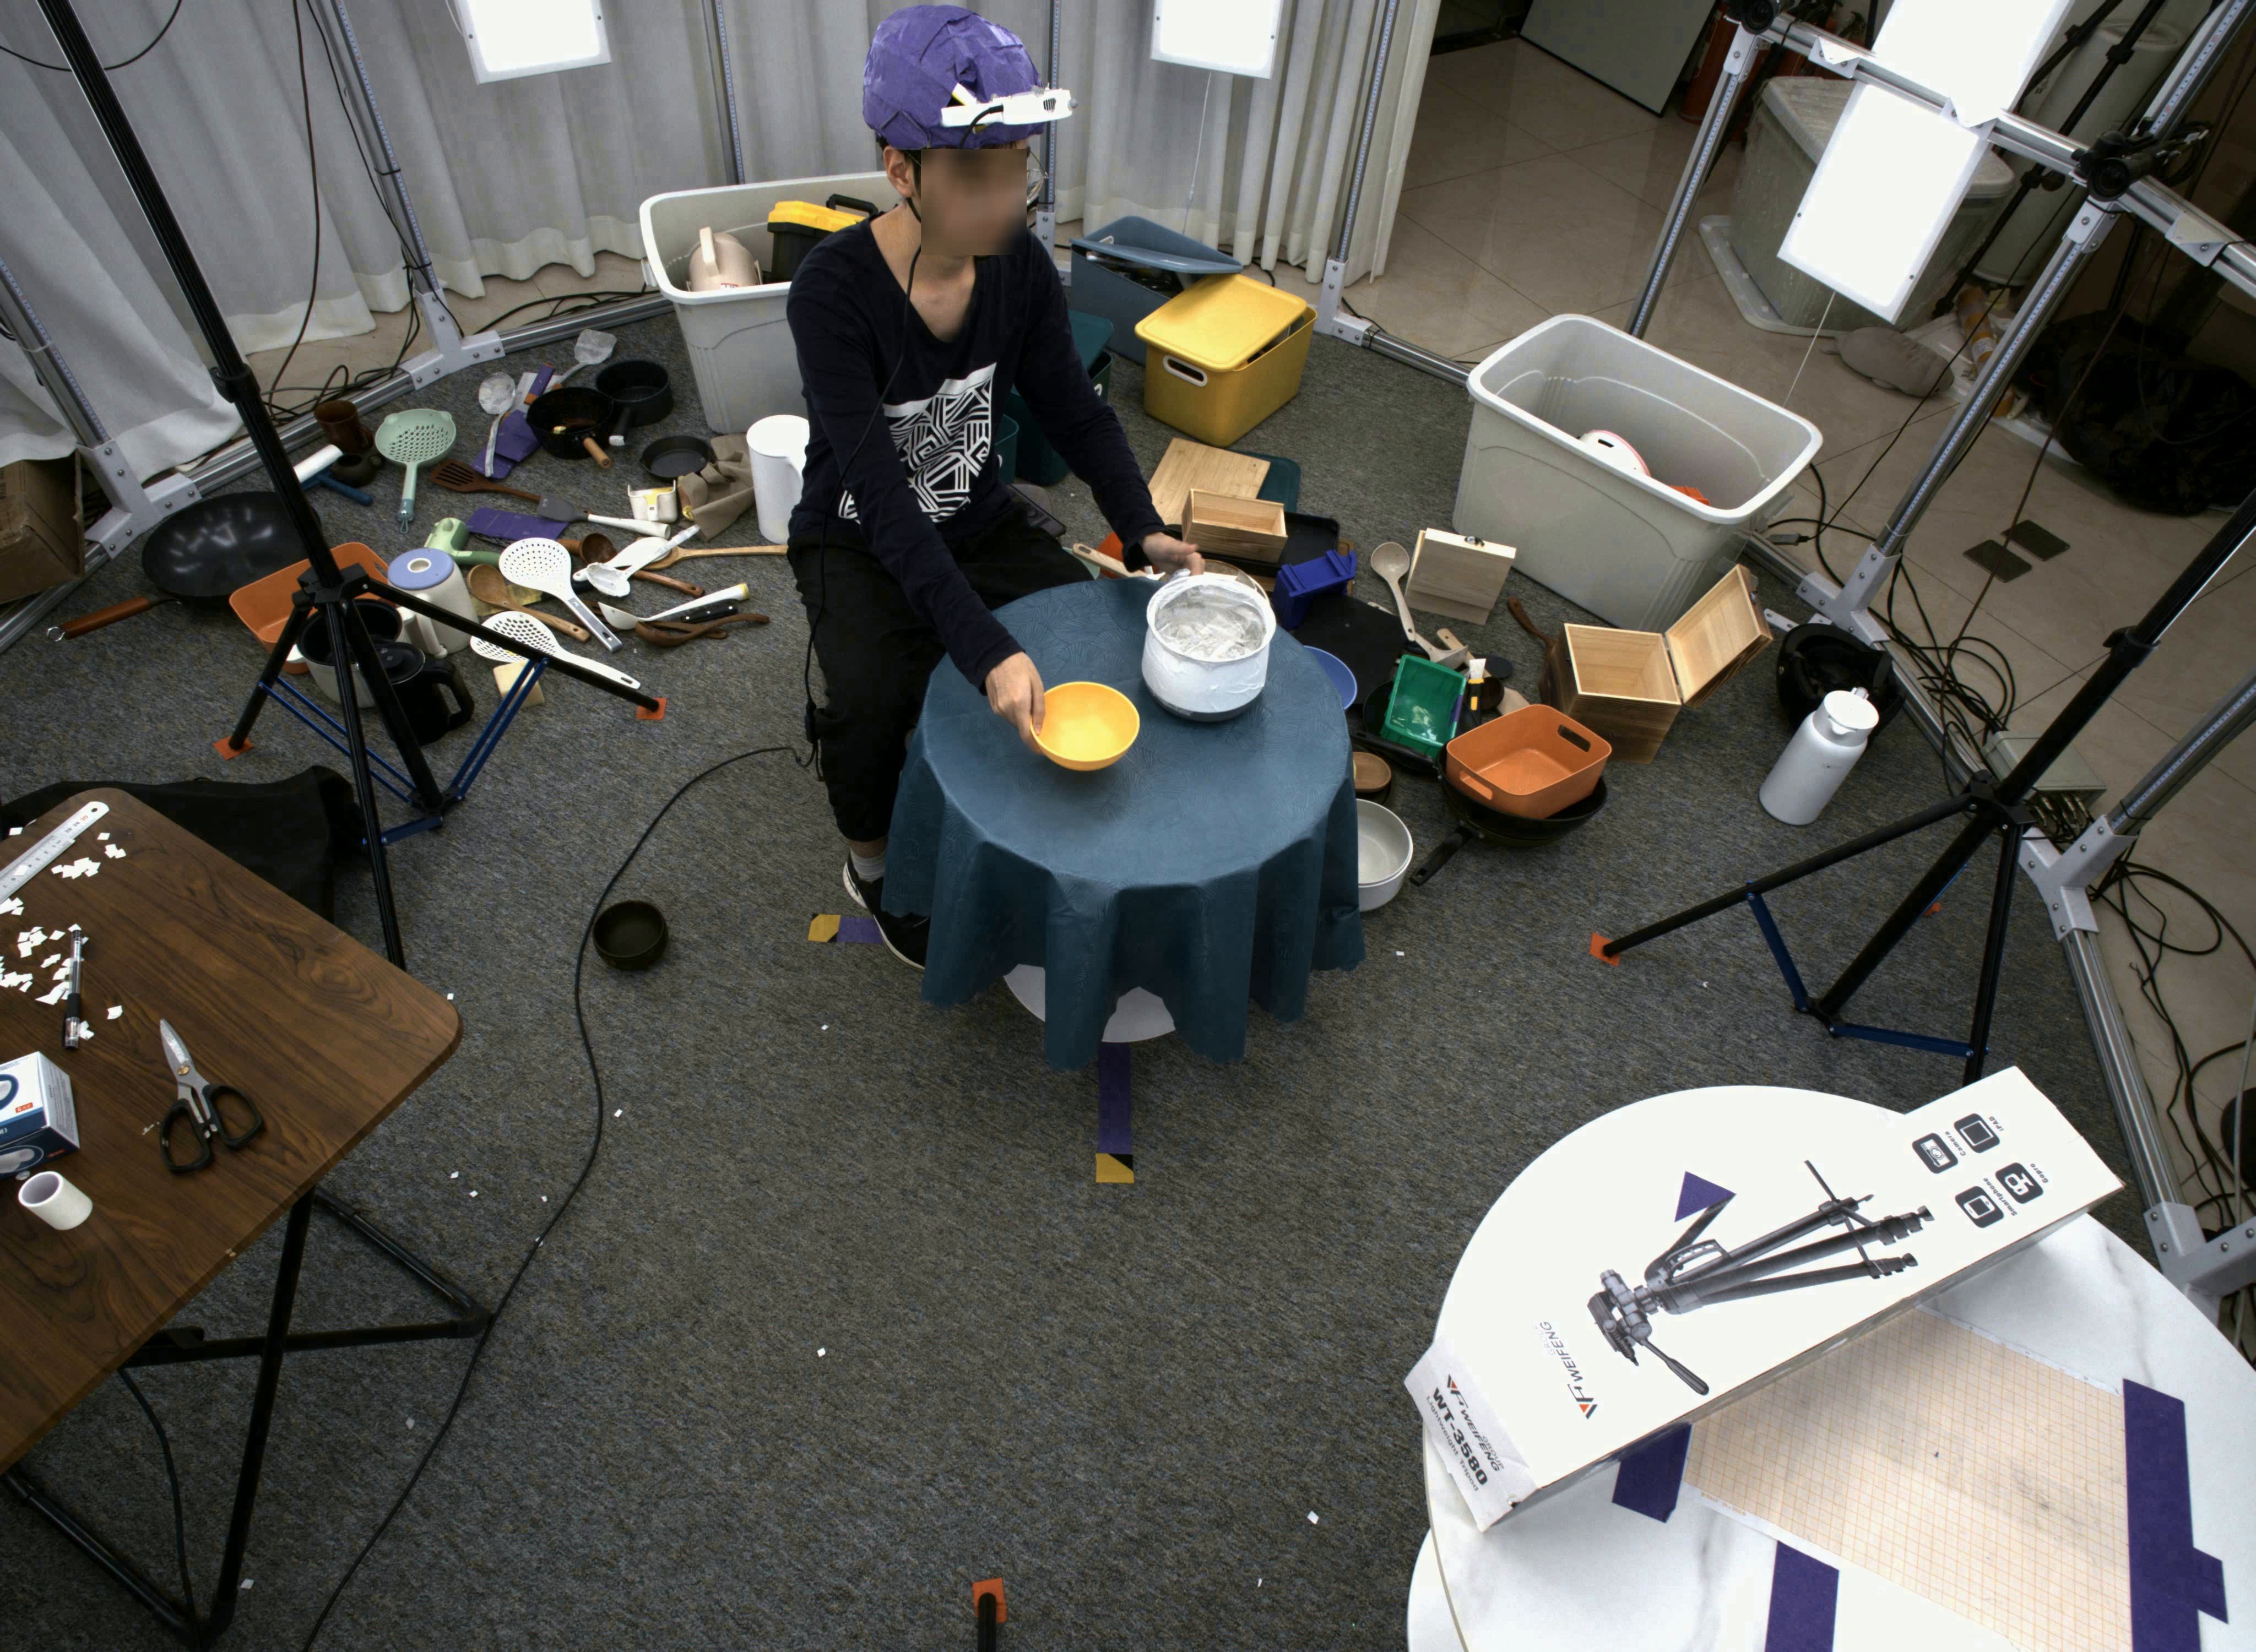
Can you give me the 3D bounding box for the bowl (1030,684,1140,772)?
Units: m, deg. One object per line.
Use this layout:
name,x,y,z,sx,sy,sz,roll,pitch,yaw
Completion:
bowl,-0.057,-0.119,1.701,0.145,0.058,0.149,1,48,-1

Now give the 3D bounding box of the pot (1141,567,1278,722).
pot,0.100,-0.266,1.815,0.179,0.133,0.239,-12,52,-18
